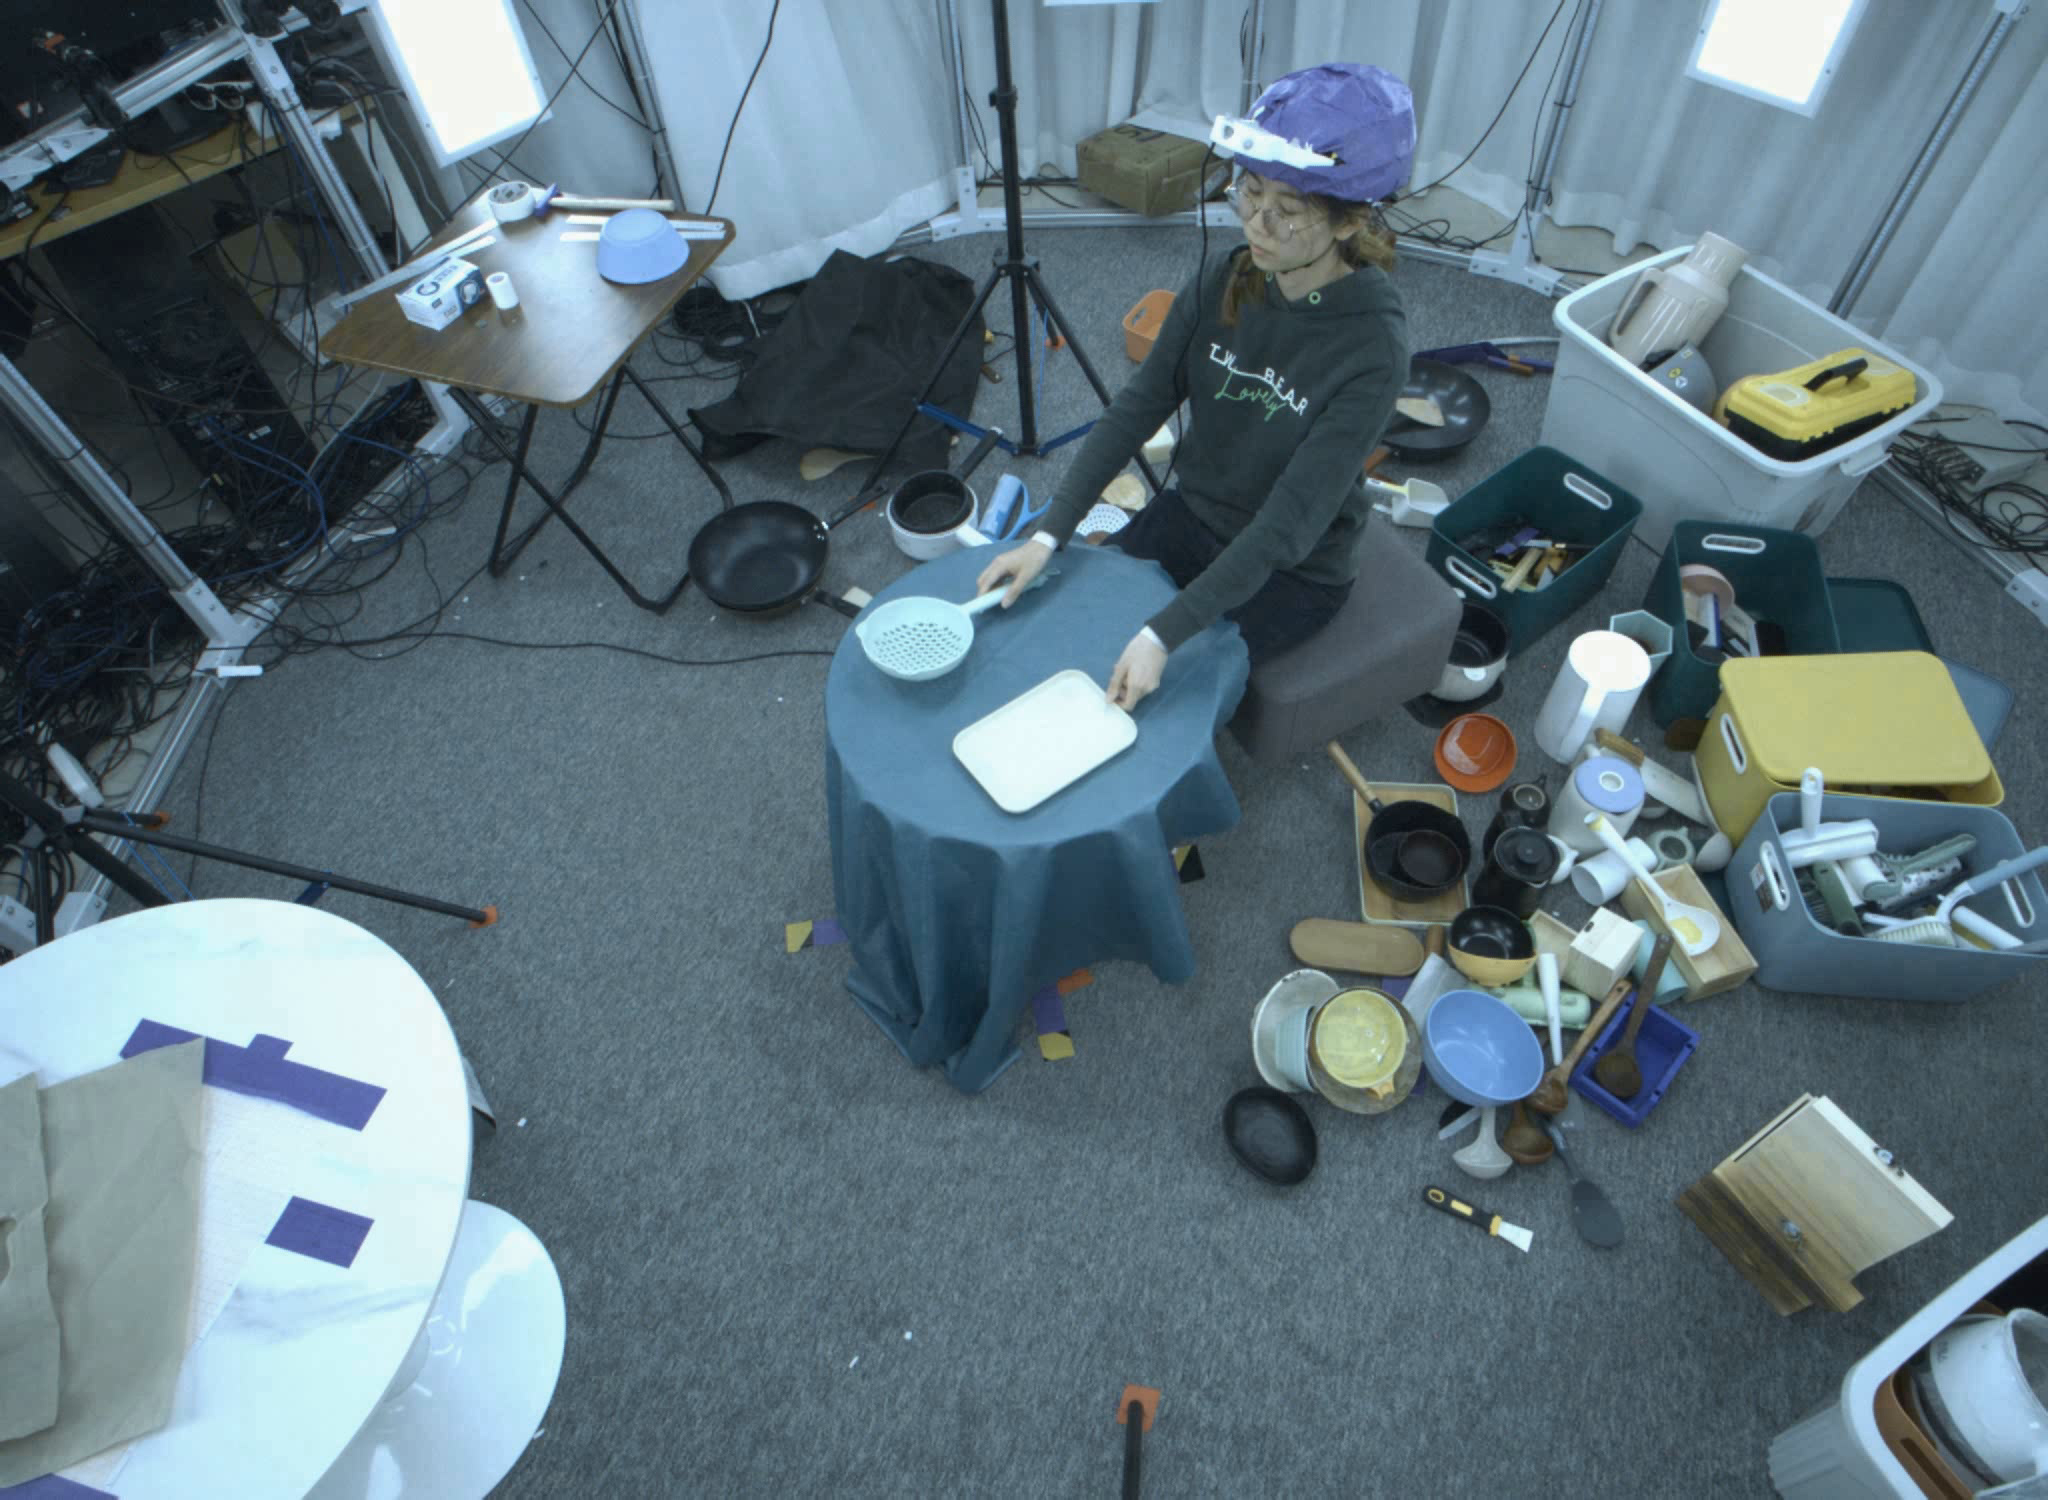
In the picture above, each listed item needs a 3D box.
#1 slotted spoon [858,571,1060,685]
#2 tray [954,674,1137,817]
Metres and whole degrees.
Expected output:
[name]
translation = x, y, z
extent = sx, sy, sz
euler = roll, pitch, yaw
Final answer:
[slotted spoon]
translation = -0.085, -0.208, 1.907
extent = 0.361, 0.076, 0.166
euler = -36, 59, -21
[tray]
translation = 0.032, -0.008, 1.793
extent = 0.241, 0.017, 0.168
euler = -32, 60, -20
